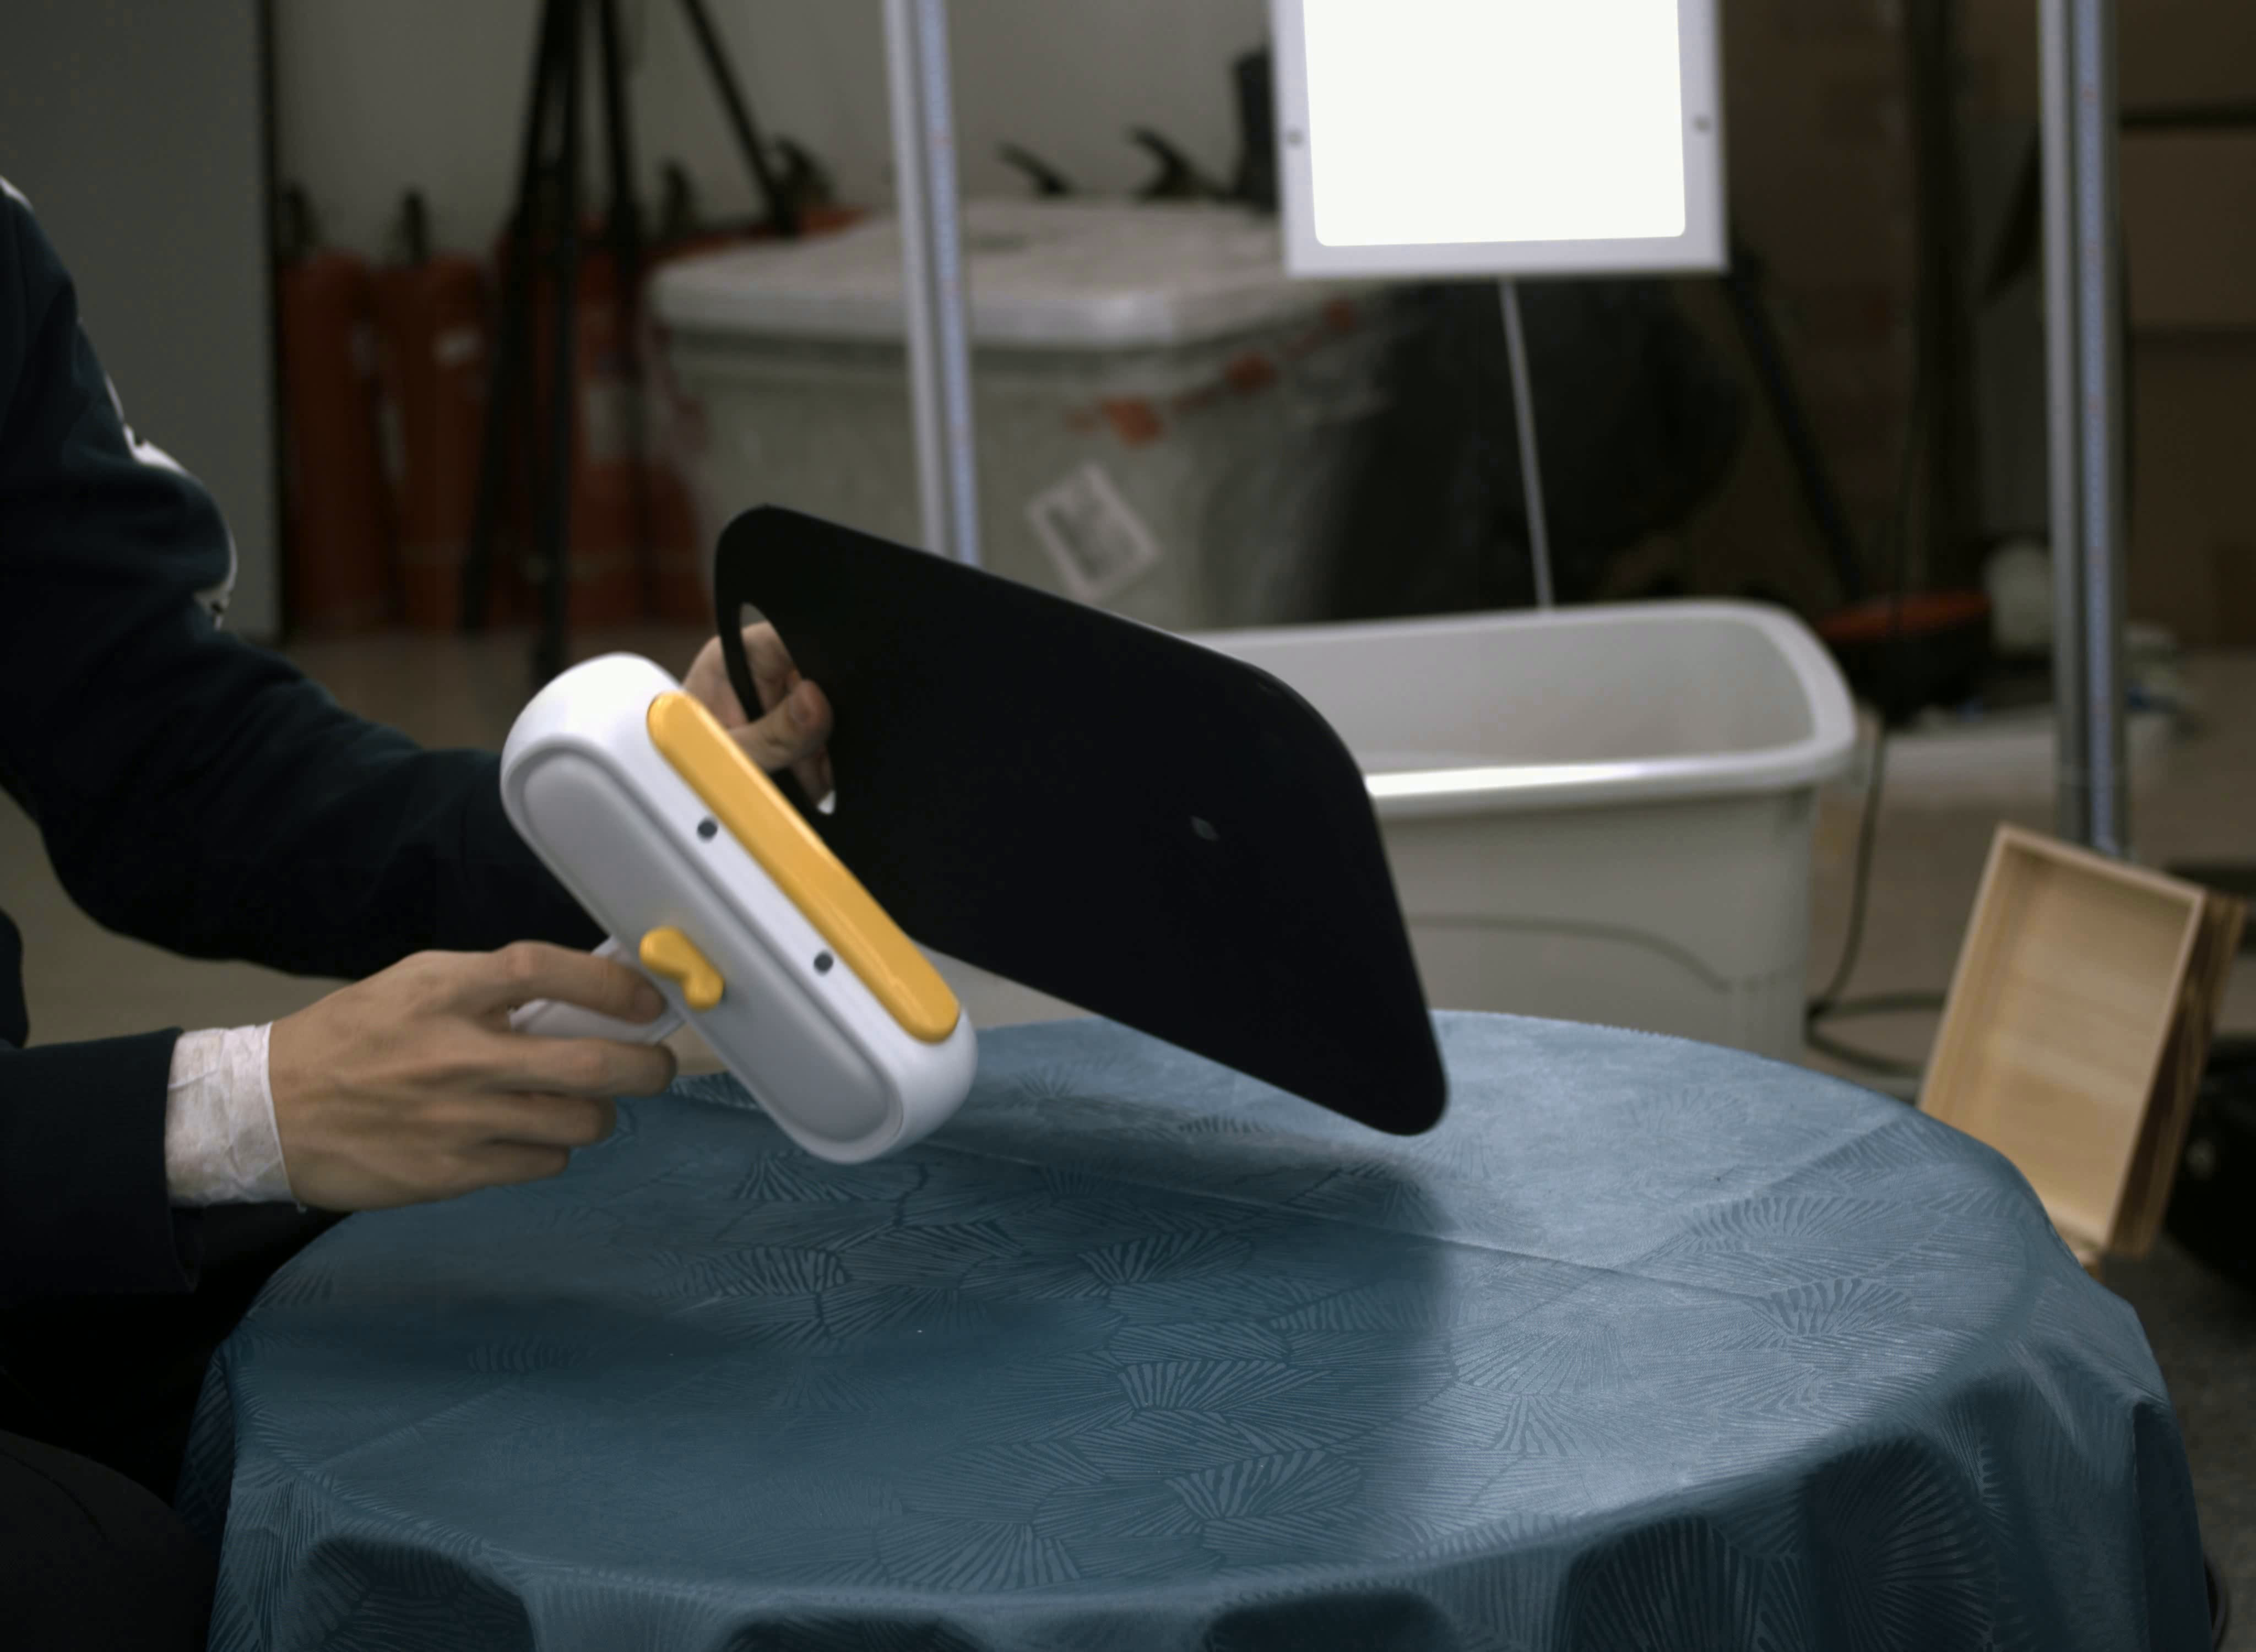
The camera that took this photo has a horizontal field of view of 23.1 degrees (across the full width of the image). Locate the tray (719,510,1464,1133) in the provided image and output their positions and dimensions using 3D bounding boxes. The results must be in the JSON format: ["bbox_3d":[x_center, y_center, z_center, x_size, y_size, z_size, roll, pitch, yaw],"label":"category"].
[{"bbox_3d":[-0.021,-0.007,1.935,0.332,0.210,0.009,20,51,40],"label":"tray"}]

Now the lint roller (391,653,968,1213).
[{"bbox_3d":[-0.171,0.060,1.818,0.196,0.192,0.073,-39,14,36],"label":"lint roller"}]
